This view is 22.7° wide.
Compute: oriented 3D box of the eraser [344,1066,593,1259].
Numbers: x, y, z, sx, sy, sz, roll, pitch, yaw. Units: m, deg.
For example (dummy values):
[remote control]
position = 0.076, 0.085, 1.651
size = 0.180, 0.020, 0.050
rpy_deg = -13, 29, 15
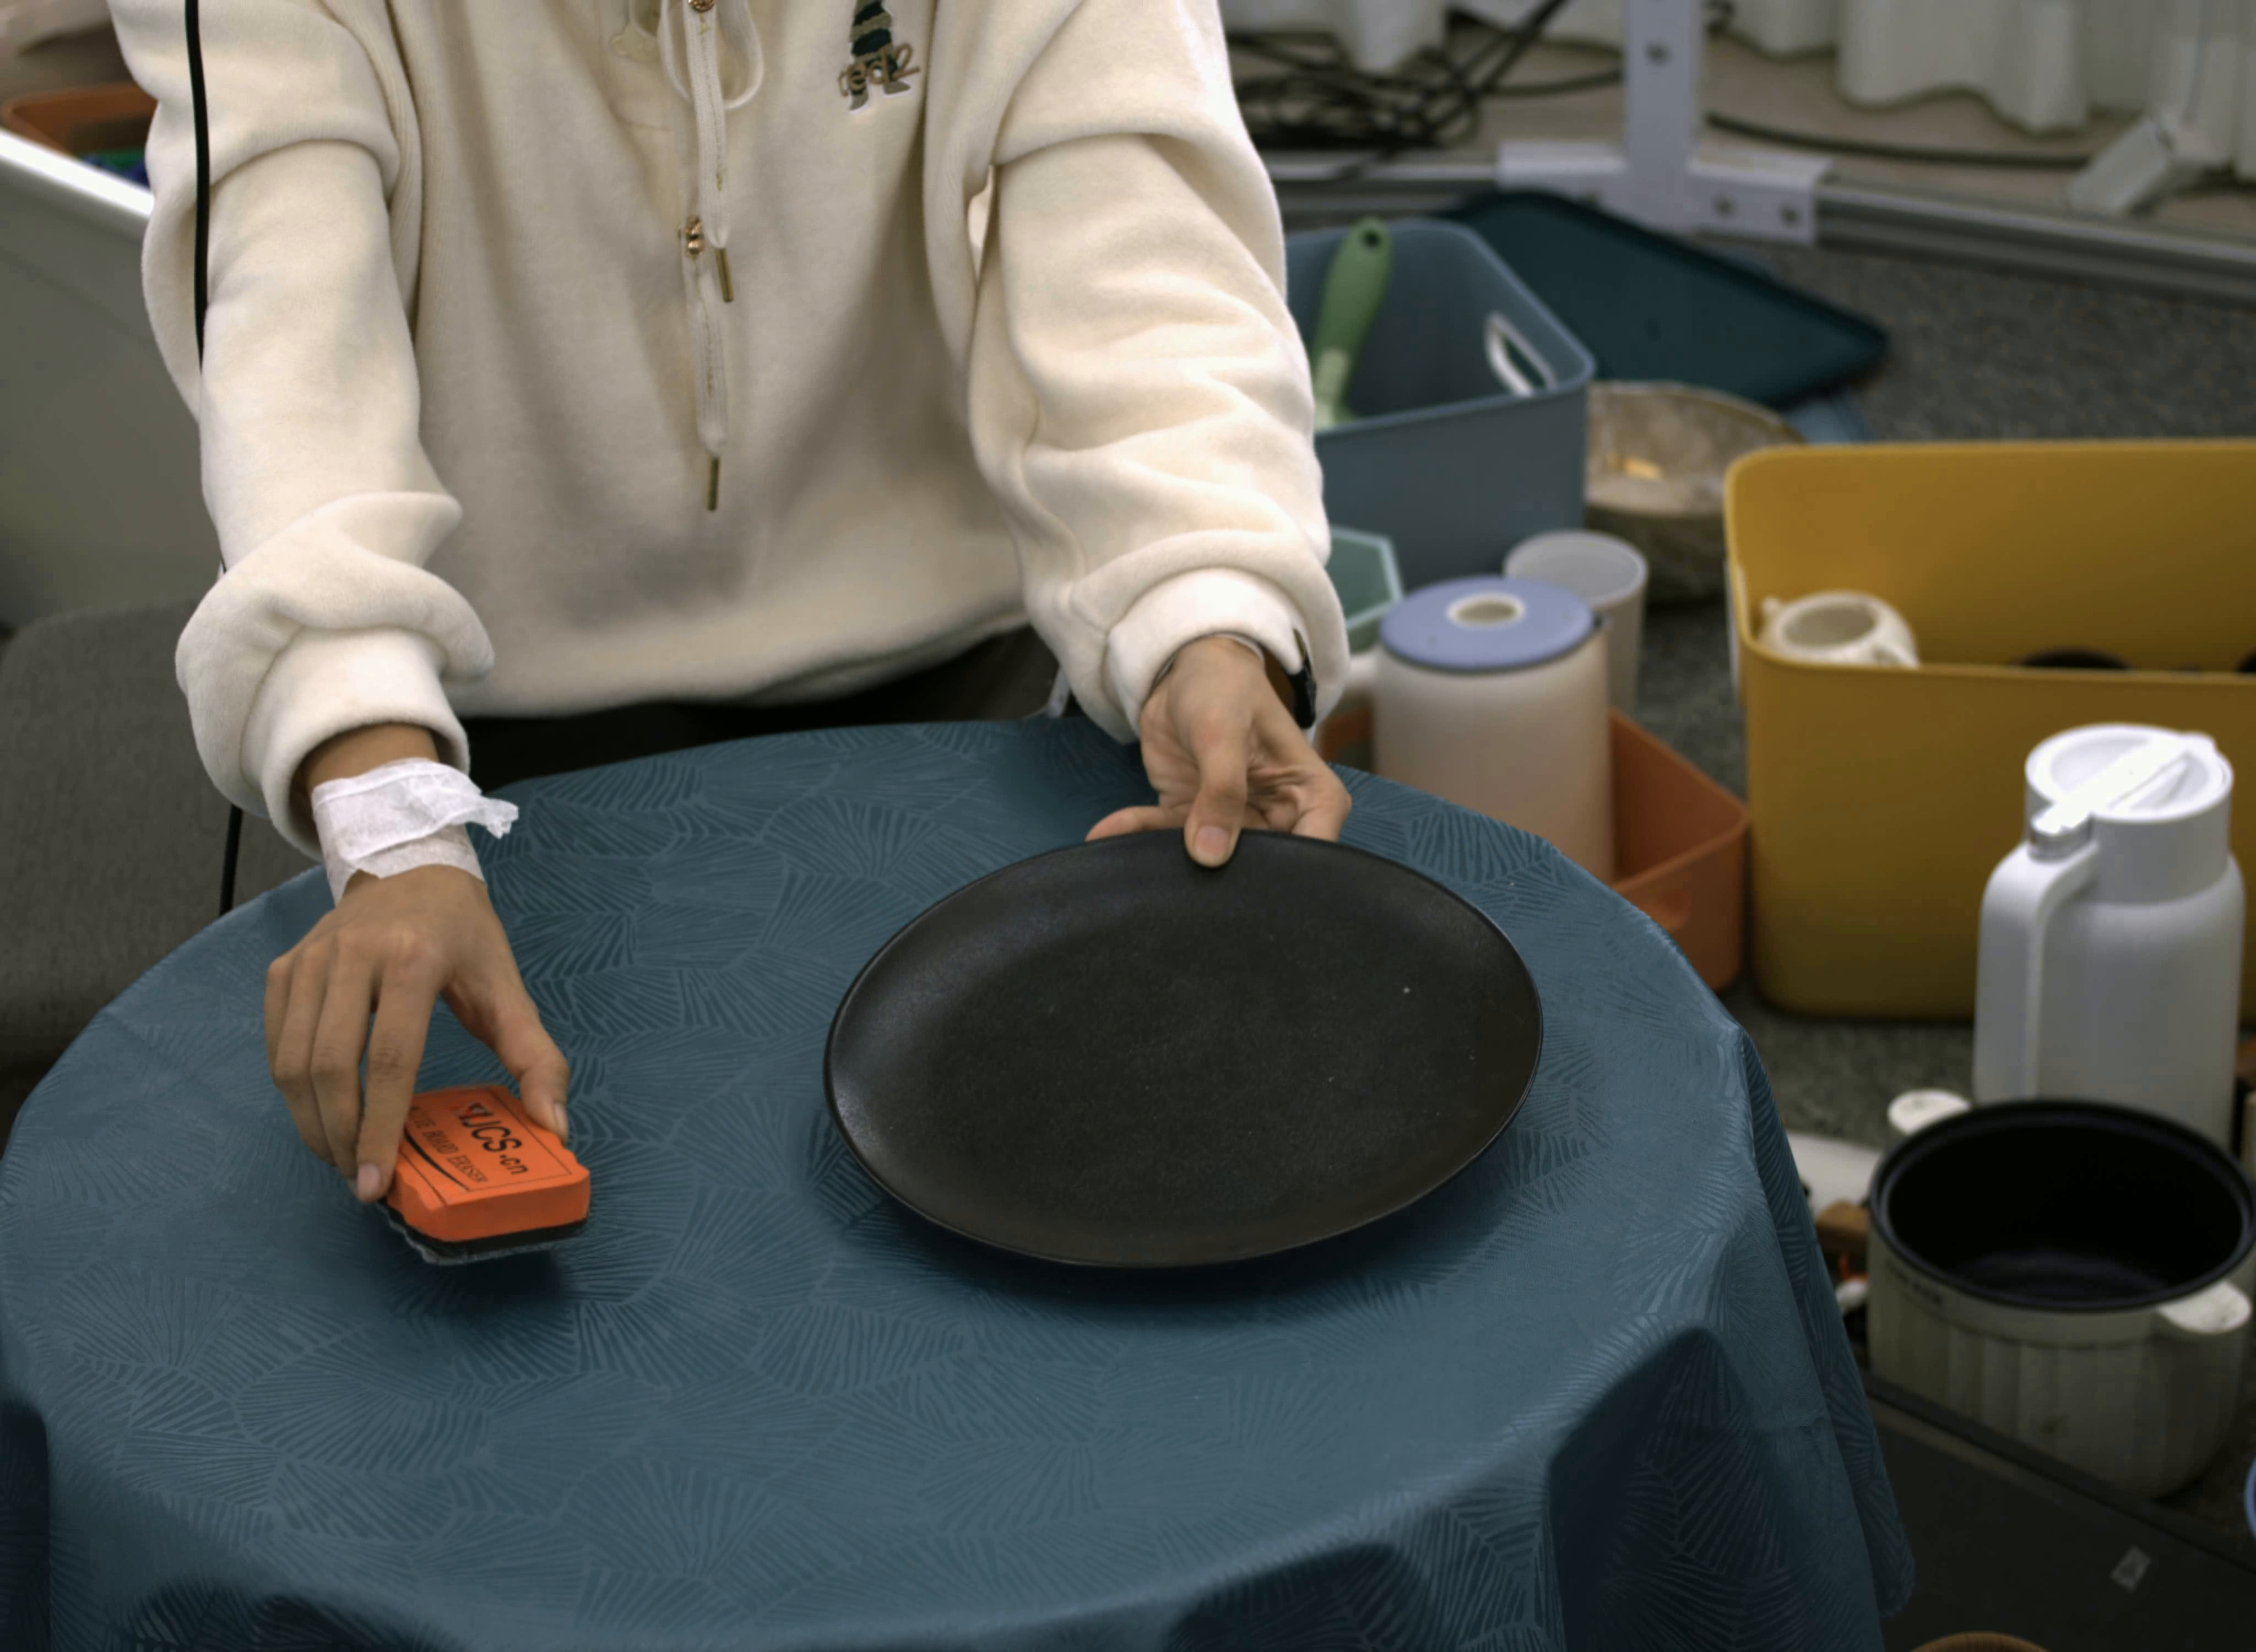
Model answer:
[eraser]
position = -0.217, 0.110, 1.844
size = 0.059, 0.023, 0.108
rpy_deg = -9, 21, -21

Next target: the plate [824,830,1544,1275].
[plate]
position = 0.019, 0.079, 1.893
size = 0.243, 0.023, 0.249
rpy_deg = -3, 34, 3
